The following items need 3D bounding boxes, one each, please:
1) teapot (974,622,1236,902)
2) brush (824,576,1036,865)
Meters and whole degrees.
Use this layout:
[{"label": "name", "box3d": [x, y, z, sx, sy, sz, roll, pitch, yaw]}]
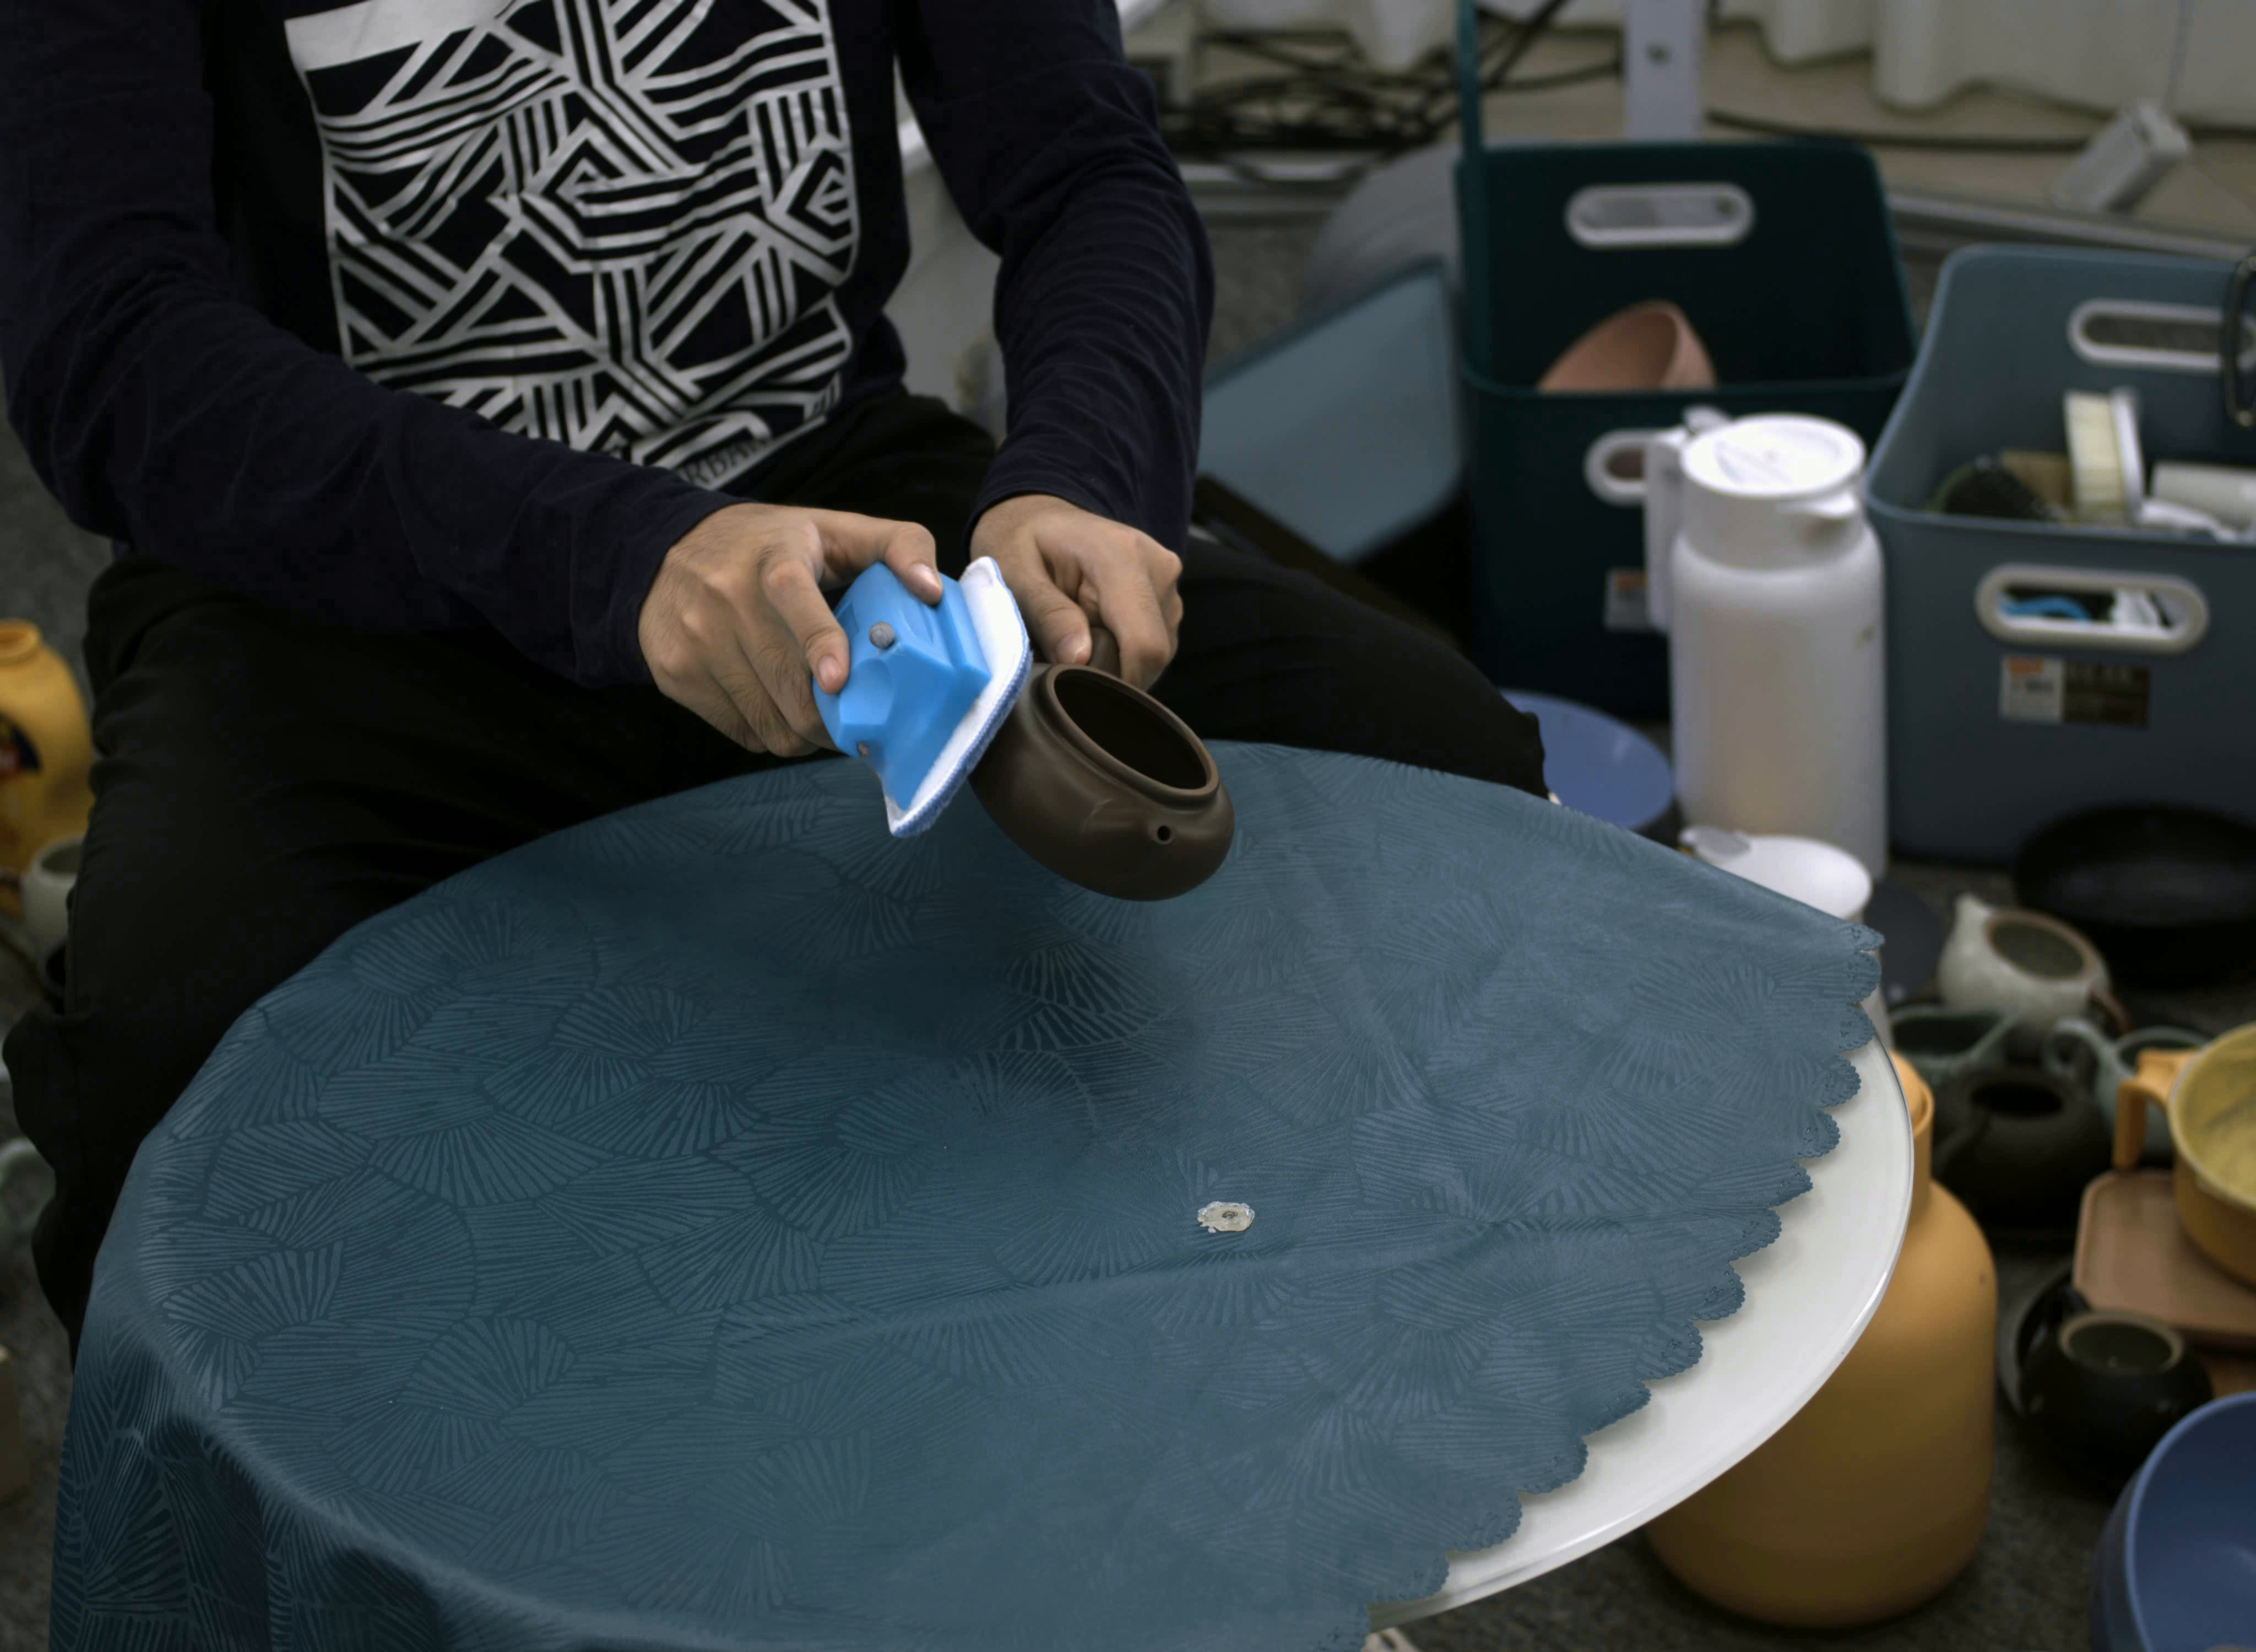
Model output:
[{"label": "teapot", "box3d": [-0.010, -0.020, 1.917, 0.102, 0.053, 0.156, 24, 25, -27]}, {"label": "brush", "box3d": [-0.075, -0.041, 1.933, 0.055, 0.083, 0.145, 40, 10, -16]}]
